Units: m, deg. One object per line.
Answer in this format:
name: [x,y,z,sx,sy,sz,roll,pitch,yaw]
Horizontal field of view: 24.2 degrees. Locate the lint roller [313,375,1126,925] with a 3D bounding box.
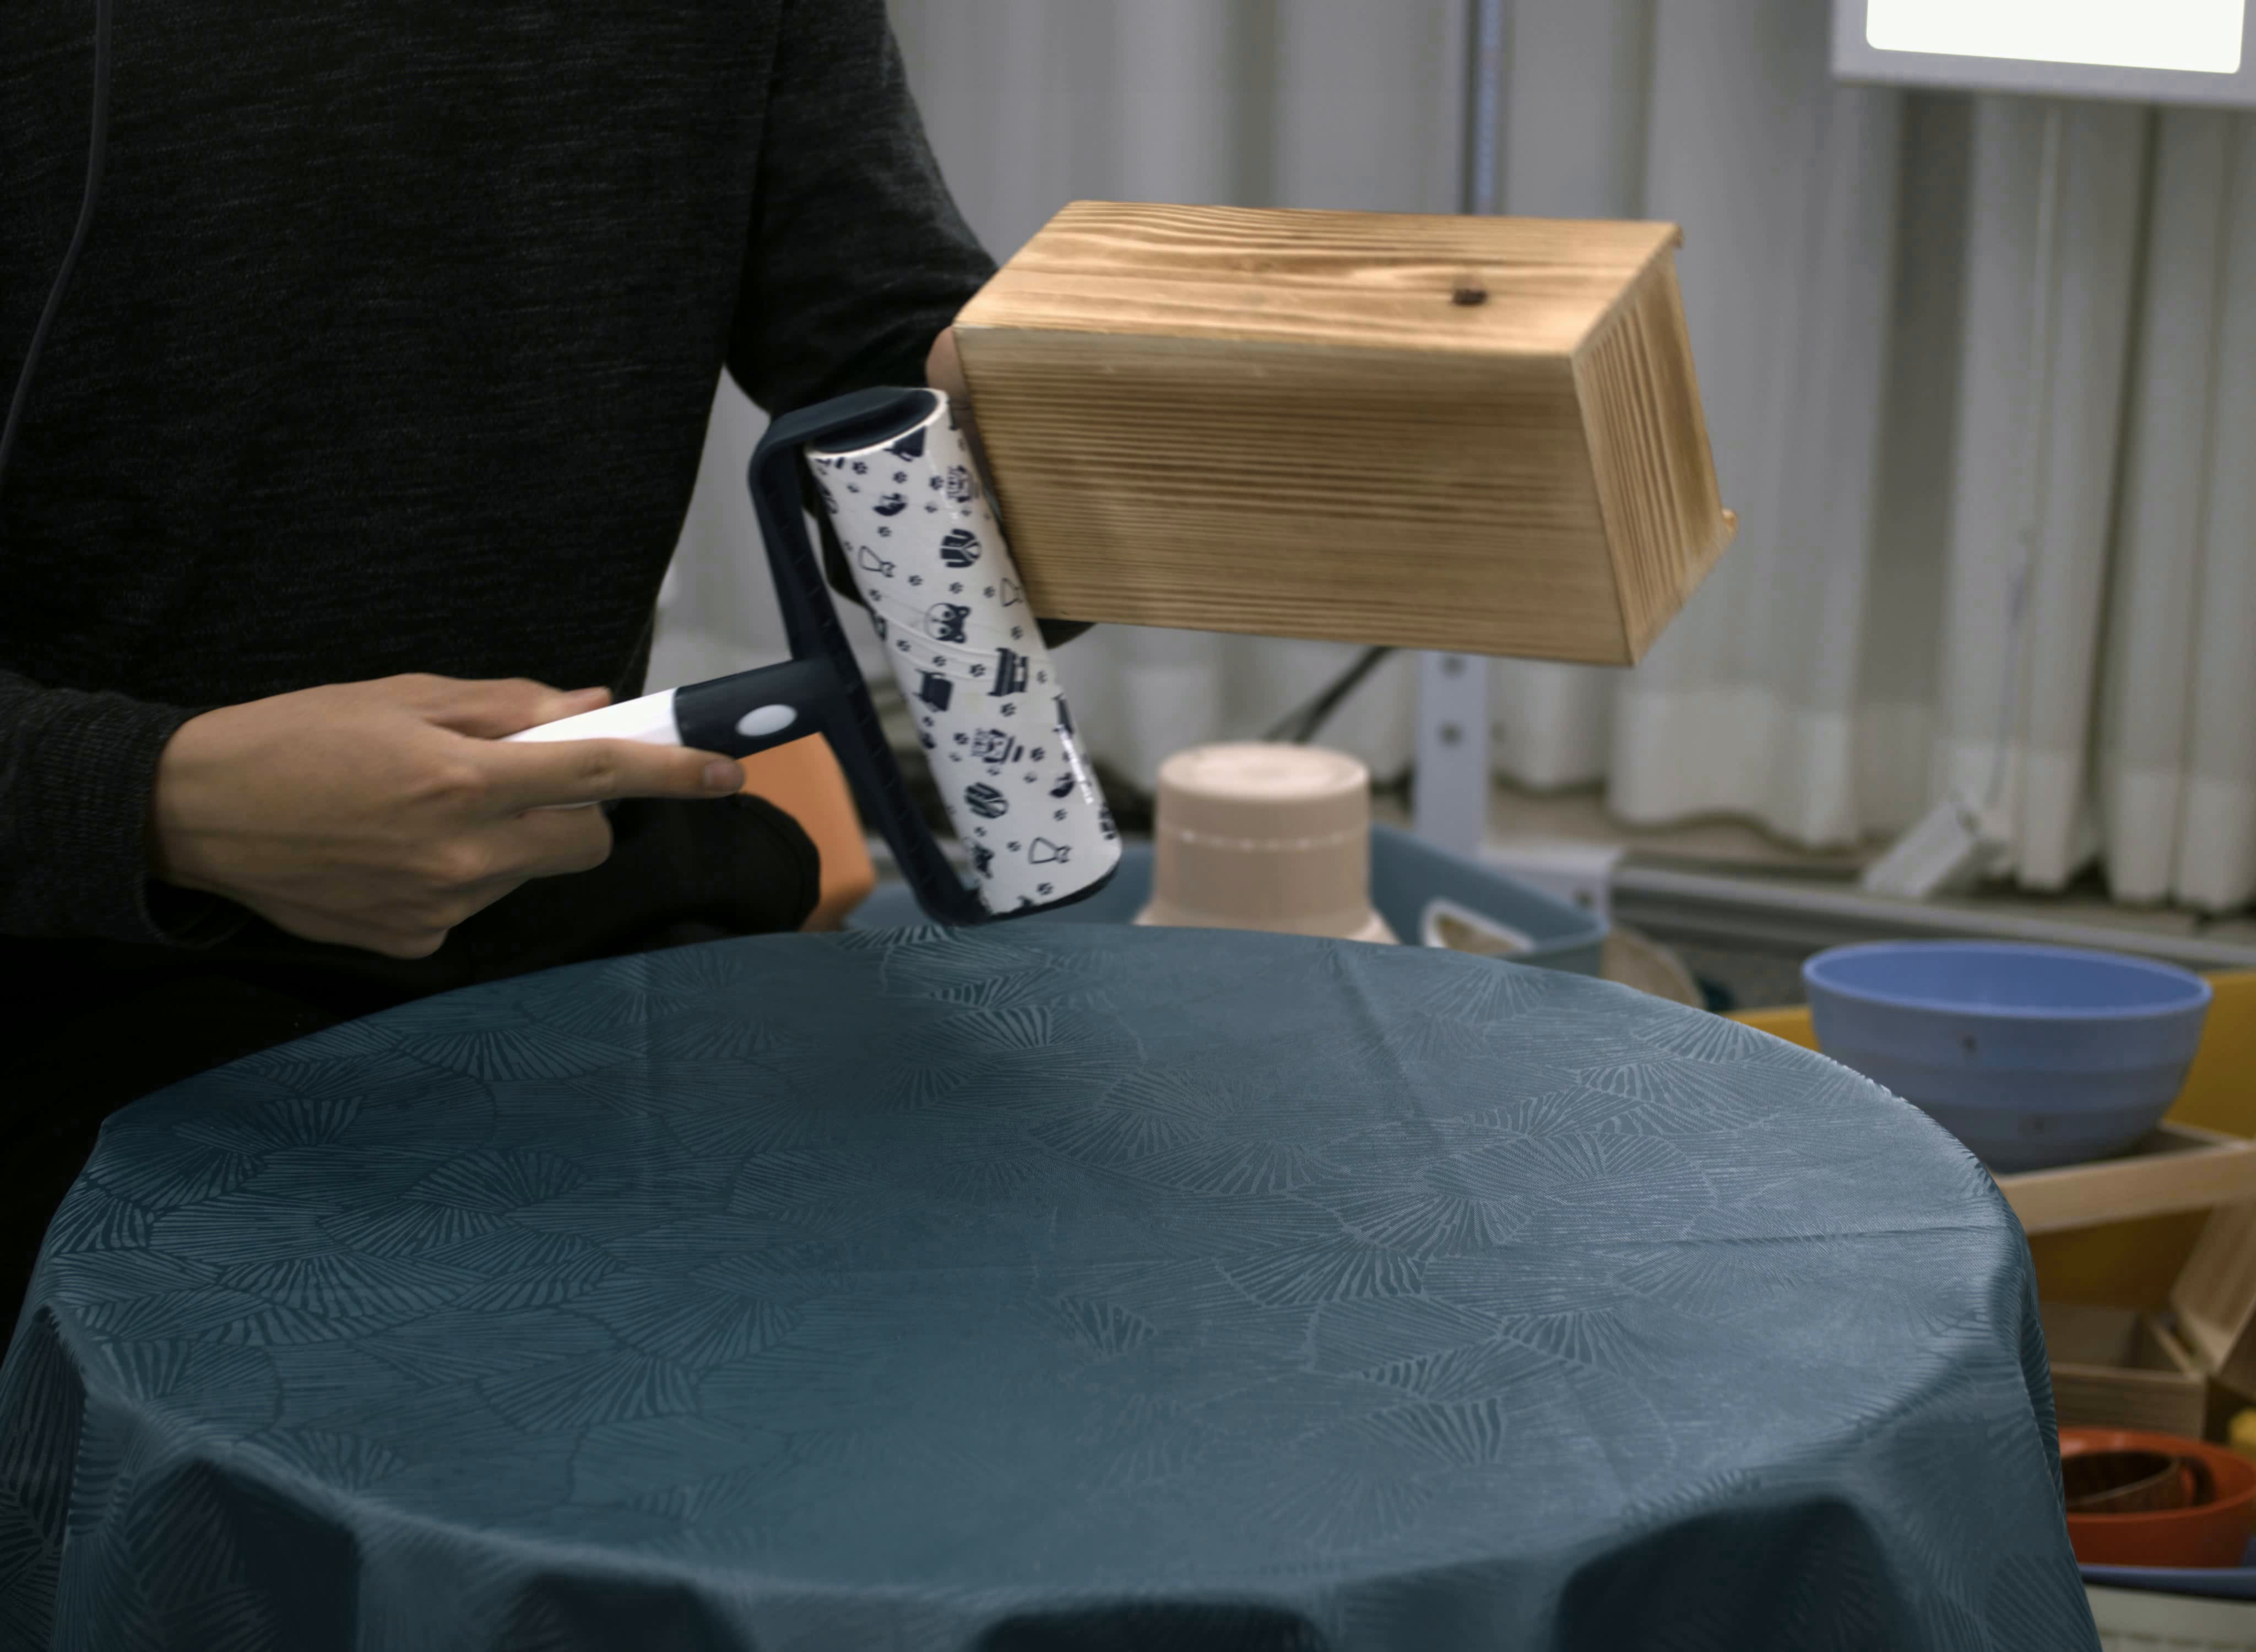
lint roller: [-0.141,-0.025,1.635,0.246,0.178,0.050,-18,26,11]

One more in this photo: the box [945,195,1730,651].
box: [0.062,-0.123,1.580,0.209,0.109,0.080,5,36,30]
